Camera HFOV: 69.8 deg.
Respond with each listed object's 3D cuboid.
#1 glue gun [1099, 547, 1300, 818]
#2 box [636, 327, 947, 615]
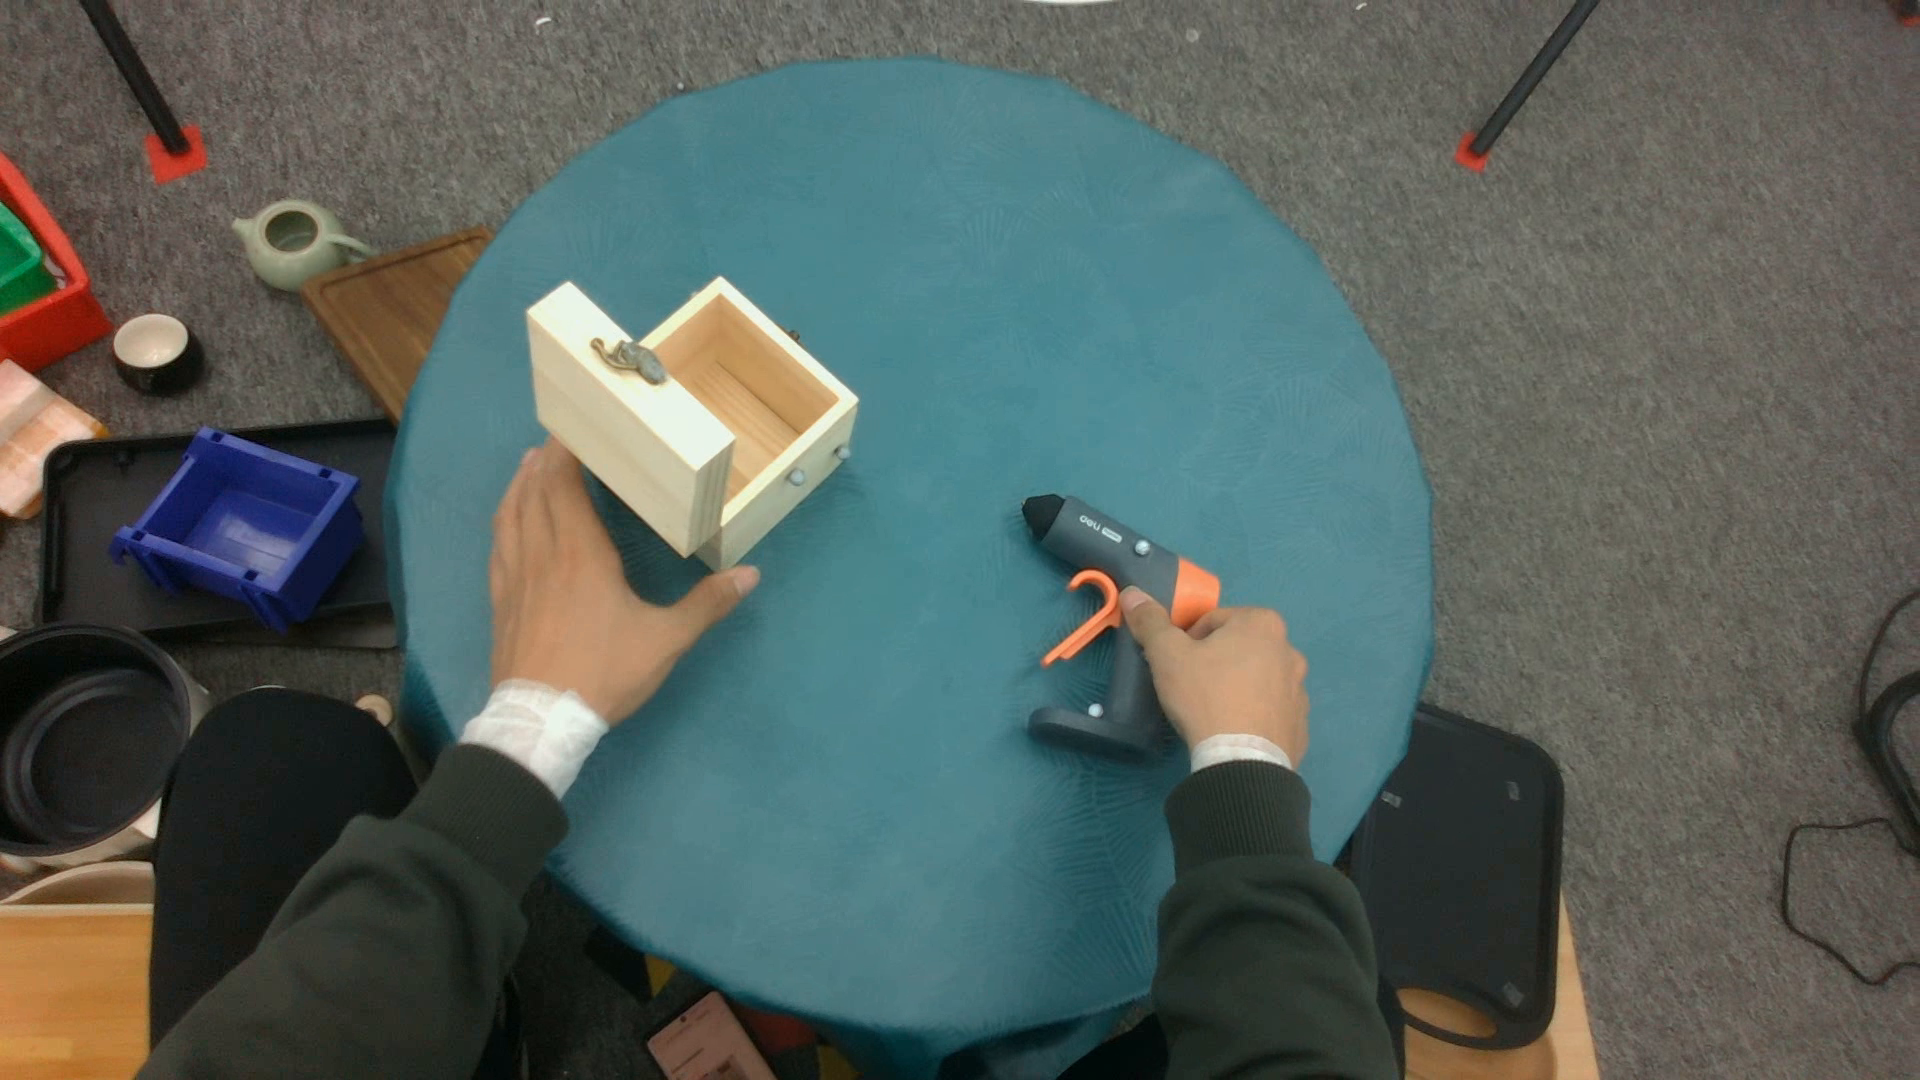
[{"bbox_3d":[0.125,0.076,0.769,0.118,0.041,0.140,14,64,0],"label":"glue gun"},{"bbox_3d":[-0.080,-0.053,0.709,0.102,0.183,0.134,41,67,10],"label":"box"}]
